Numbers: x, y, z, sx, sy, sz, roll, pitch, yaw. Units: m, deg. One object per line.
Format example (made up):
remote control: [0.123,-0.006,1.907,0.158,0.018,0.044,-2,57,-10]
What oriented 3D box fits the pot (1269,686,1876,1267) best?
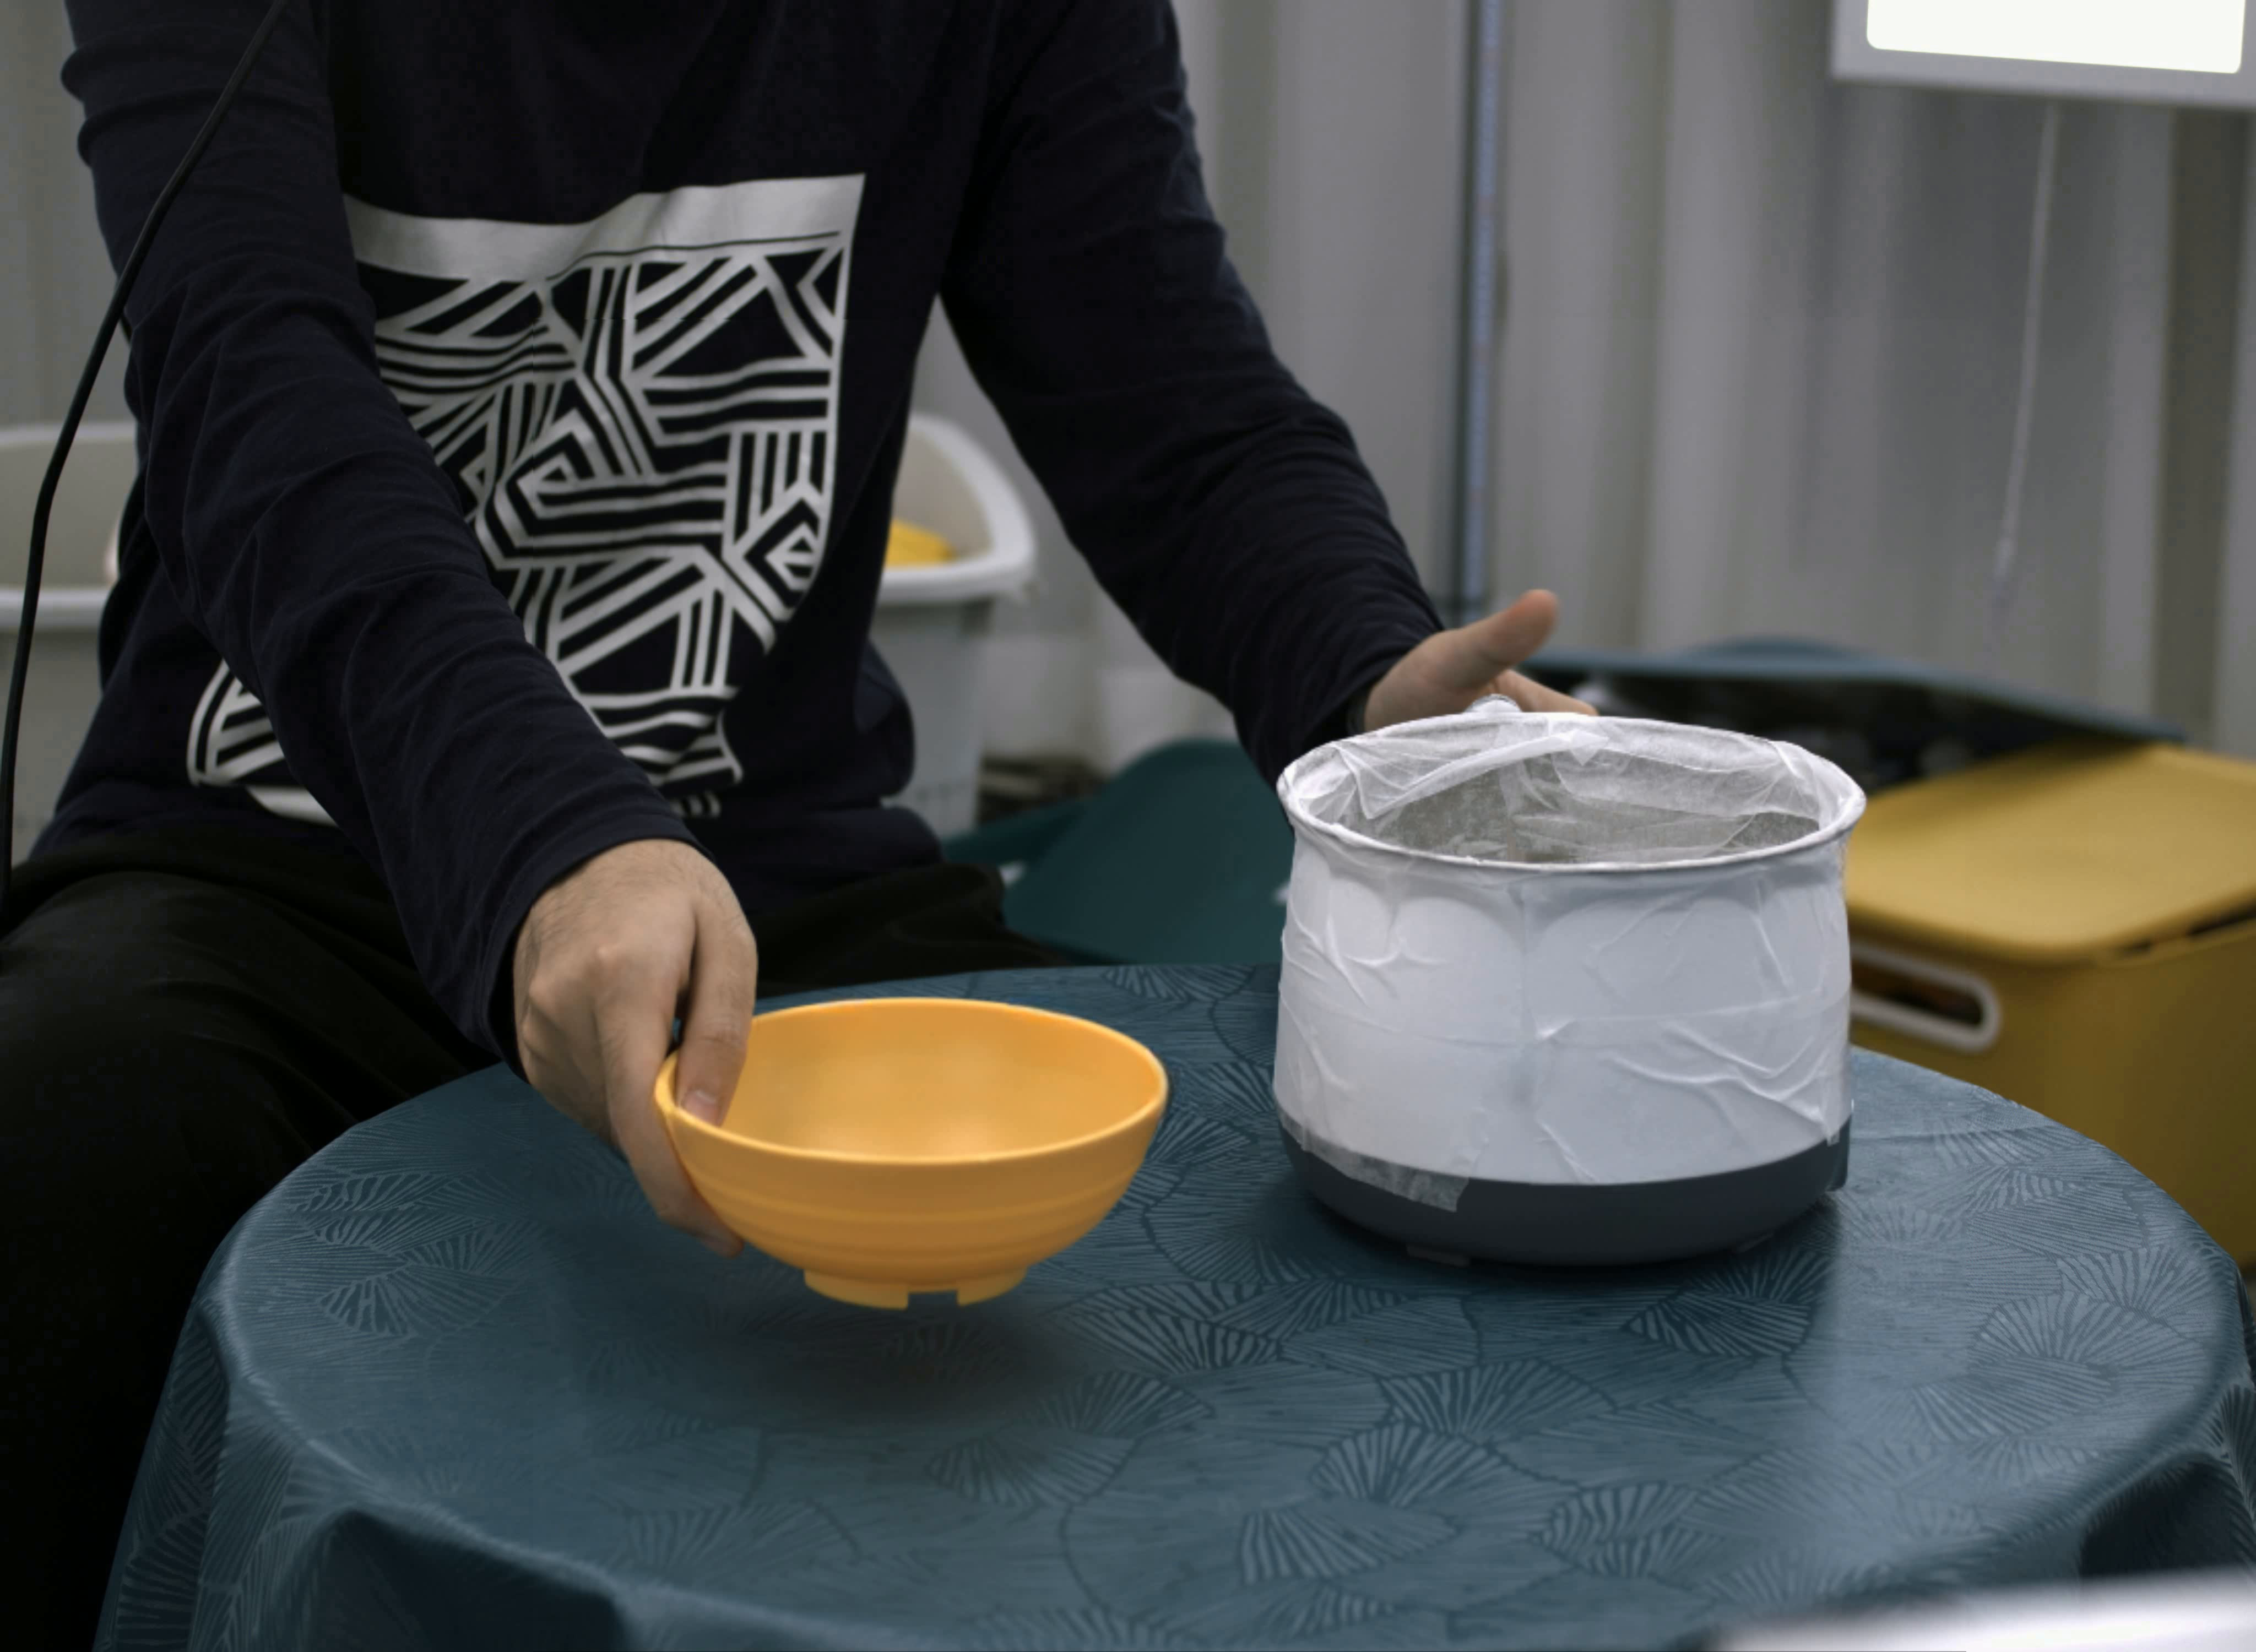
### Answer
pot: [0.127,0.041,1.626,0.179,0.137,0.231,0,16,-12]

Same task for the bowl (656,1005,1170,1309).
bowl: [-0.060,0.098,1.483,0.145,0.060,0.144,-1,14,1]
